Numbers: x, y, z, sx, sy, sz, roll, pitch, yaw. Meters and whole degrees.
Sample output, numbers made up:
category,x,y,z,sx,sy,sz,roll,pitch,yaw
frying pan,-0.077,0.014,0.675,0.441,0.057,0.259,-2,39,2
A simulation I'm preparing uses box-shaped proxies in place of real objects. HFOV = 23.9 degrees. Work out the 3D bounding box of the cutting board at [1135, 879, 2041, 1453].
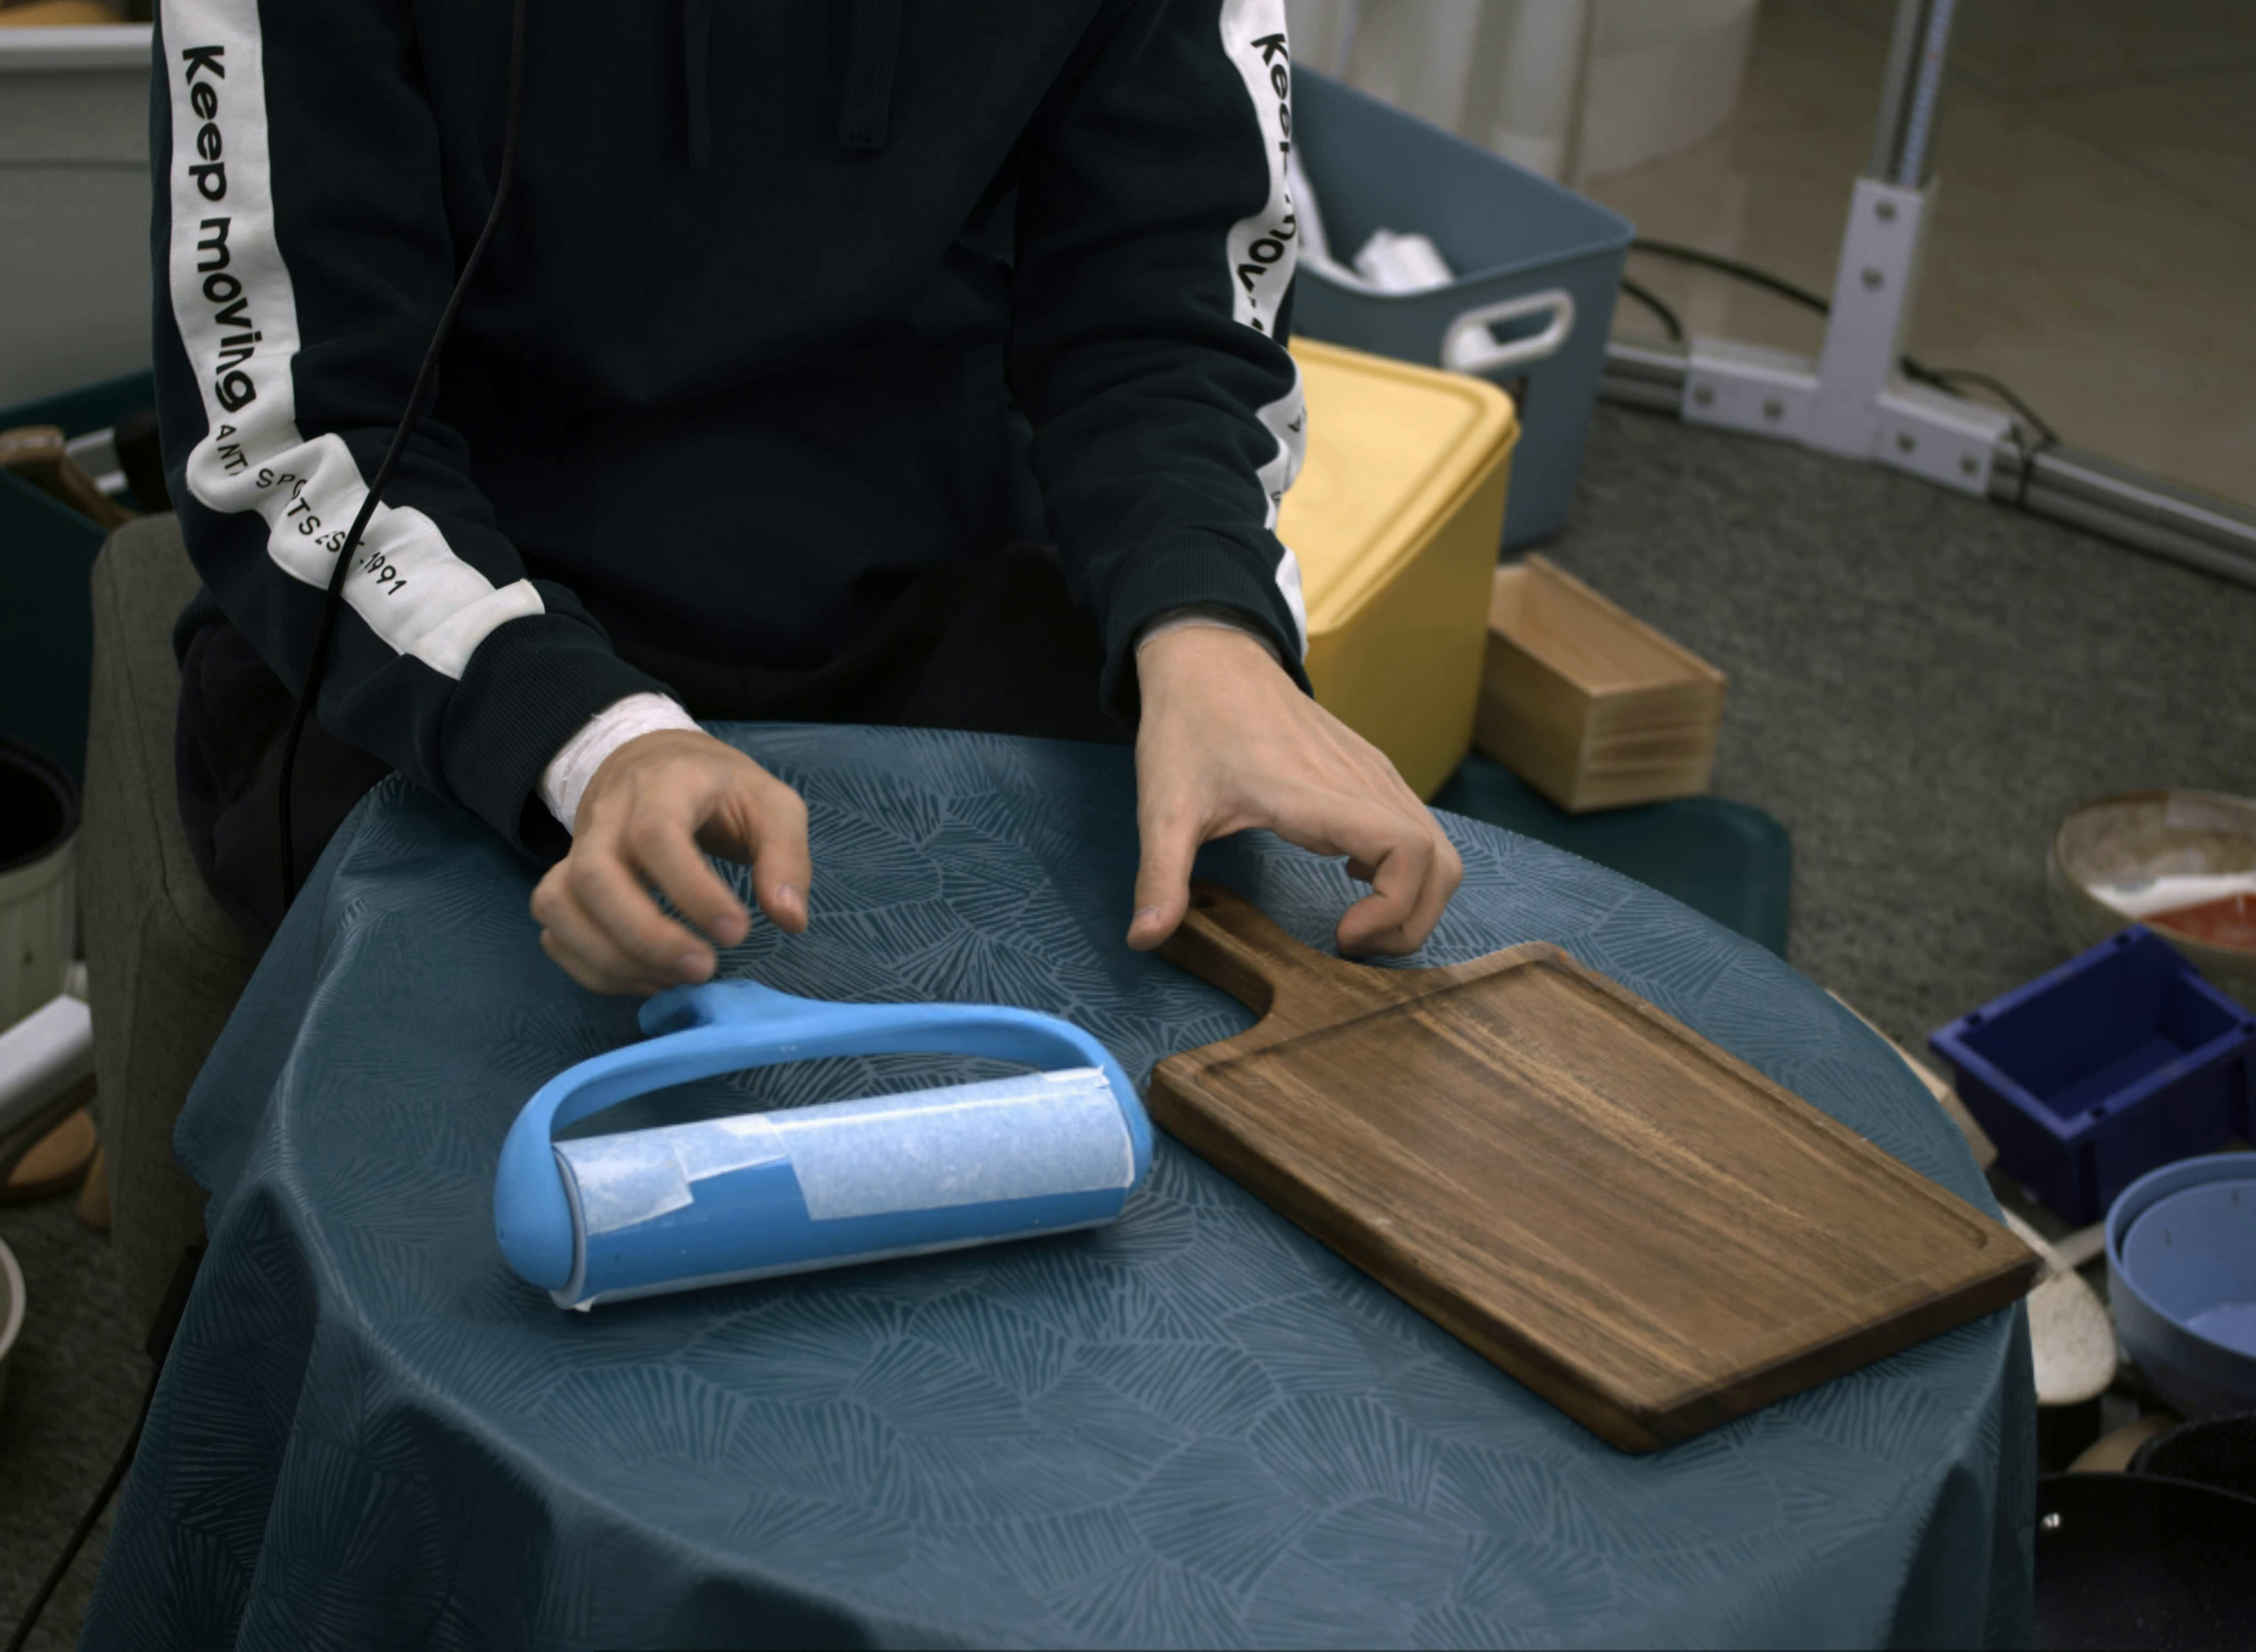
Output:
category,x,y,z,sx,sy,sz,roll,pitch,yaw
cutting board,0.125,0.100,1.848,0.200,0.023,0.355,-15,34,-38

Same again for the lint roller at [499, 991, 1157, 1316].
category,x,y,z,sx,sy,sz,roll,pitch,yaw
lint roller,-0.122,0.090,1.775,0.227,0.067,0.182,-10,32,-26
